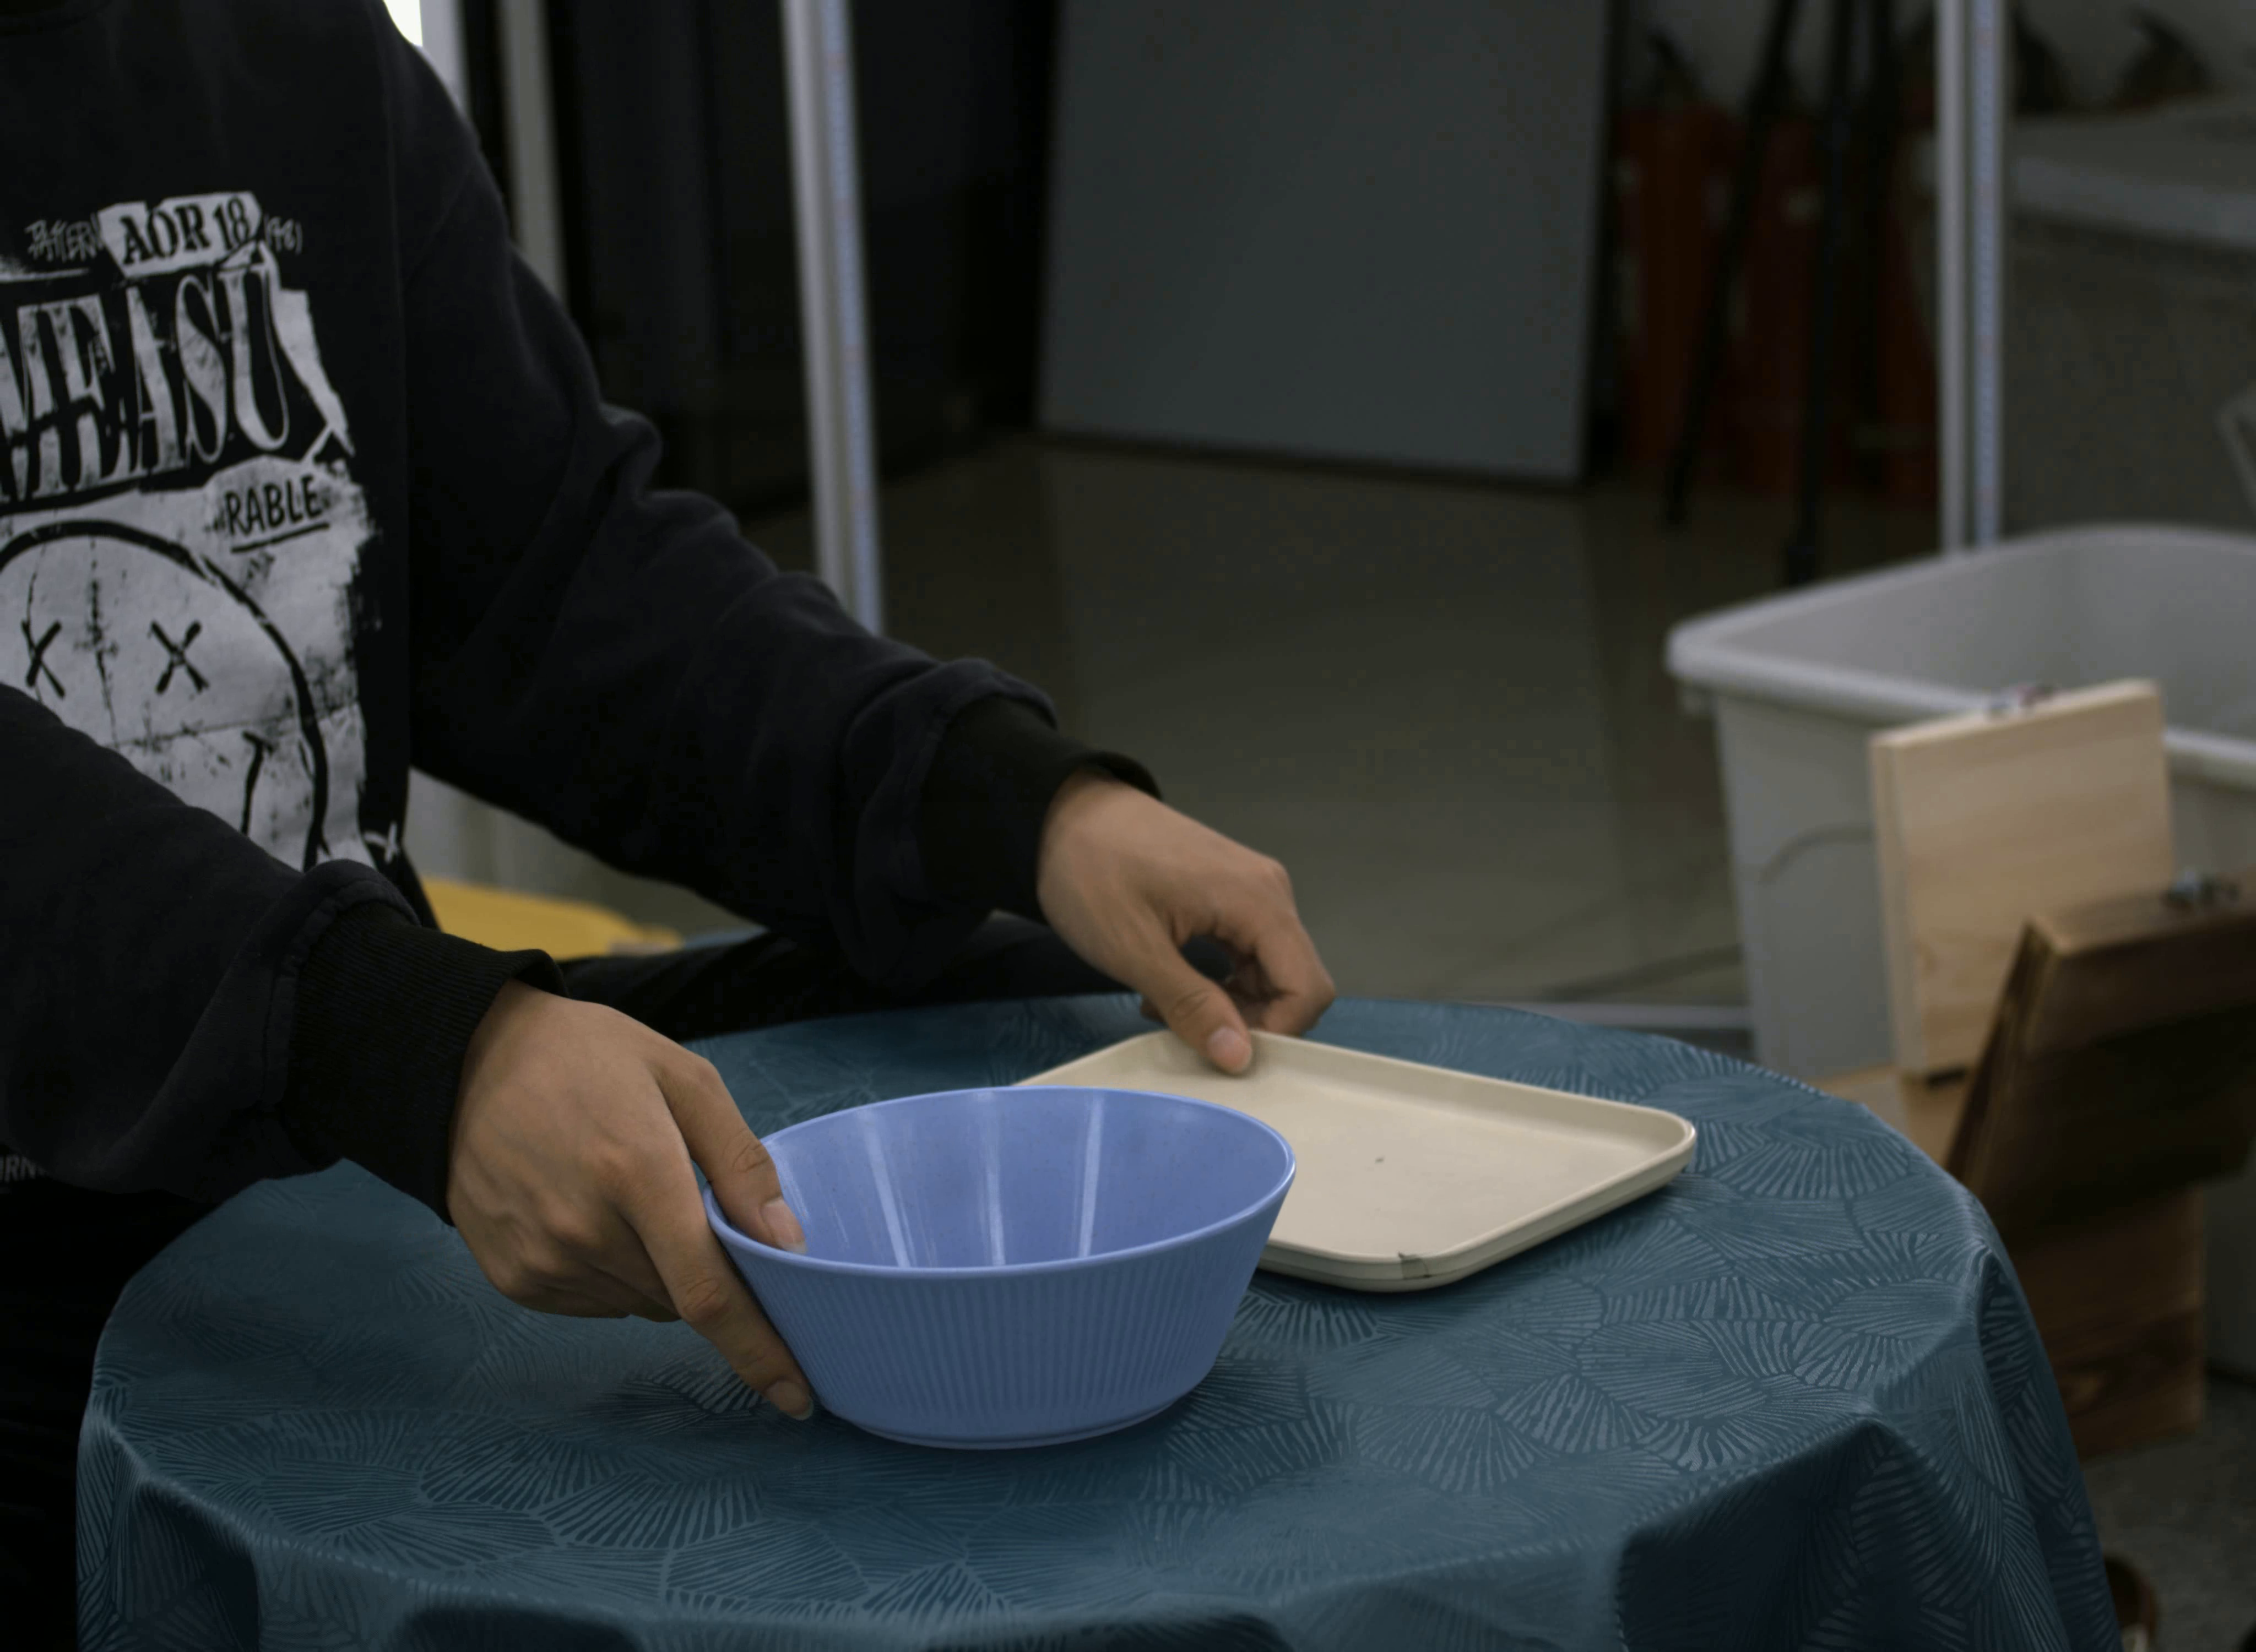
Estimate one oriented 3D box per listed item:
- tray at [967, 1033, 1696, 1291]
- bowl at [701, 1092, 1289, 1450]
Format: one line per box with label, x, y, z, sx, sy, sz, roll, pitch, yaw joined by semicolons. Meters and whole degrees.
tray;0.054;0.109;1.766;0.242;0.017;0.168;9;18;42
bowl;-0.037;0.133;1.586;0.174;0.071;0.176;-4;13;0
